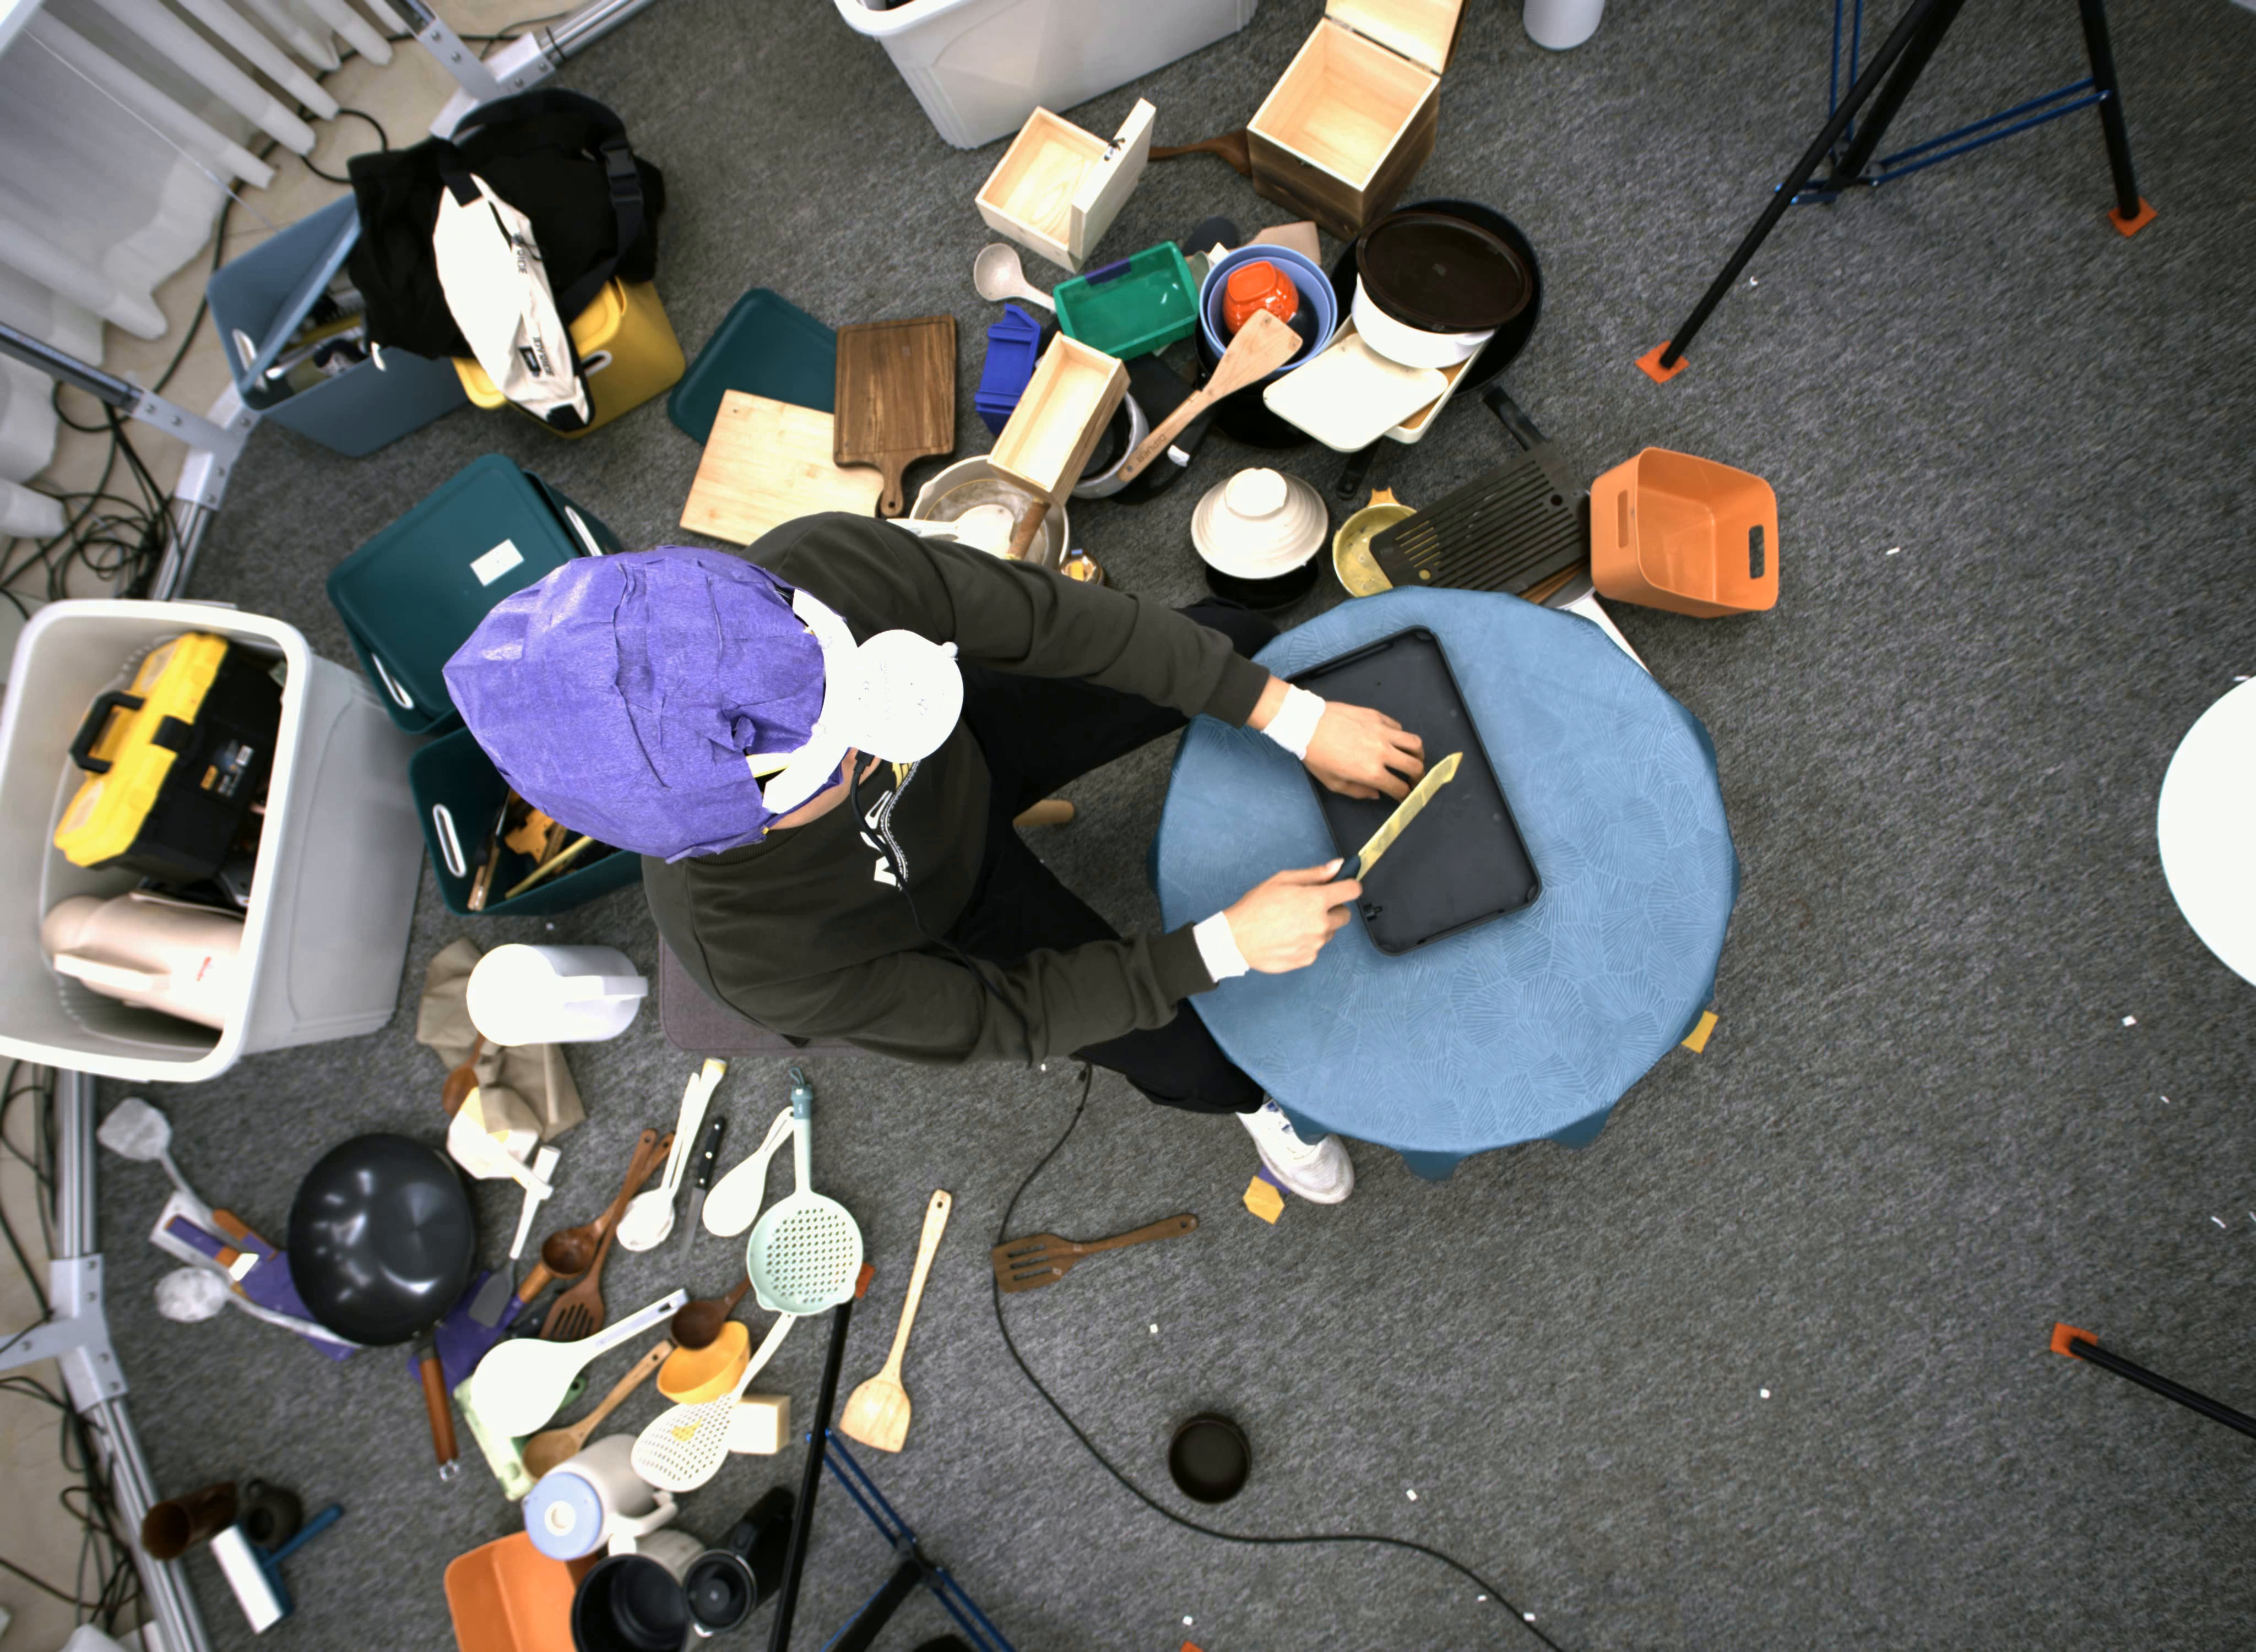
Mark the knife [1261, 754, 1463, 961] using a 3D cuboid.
[{"bbox_3d":[0.240,0.029,1.391,0.289,0.082,0.027,-45,66,-1],"label":"knife"}]

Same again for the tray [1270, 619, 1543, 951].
[{"bbox_3d":[0.289,-0.044,1.443,0.185,0.037,0.316,-24,83,8],"label":"tray"}]
